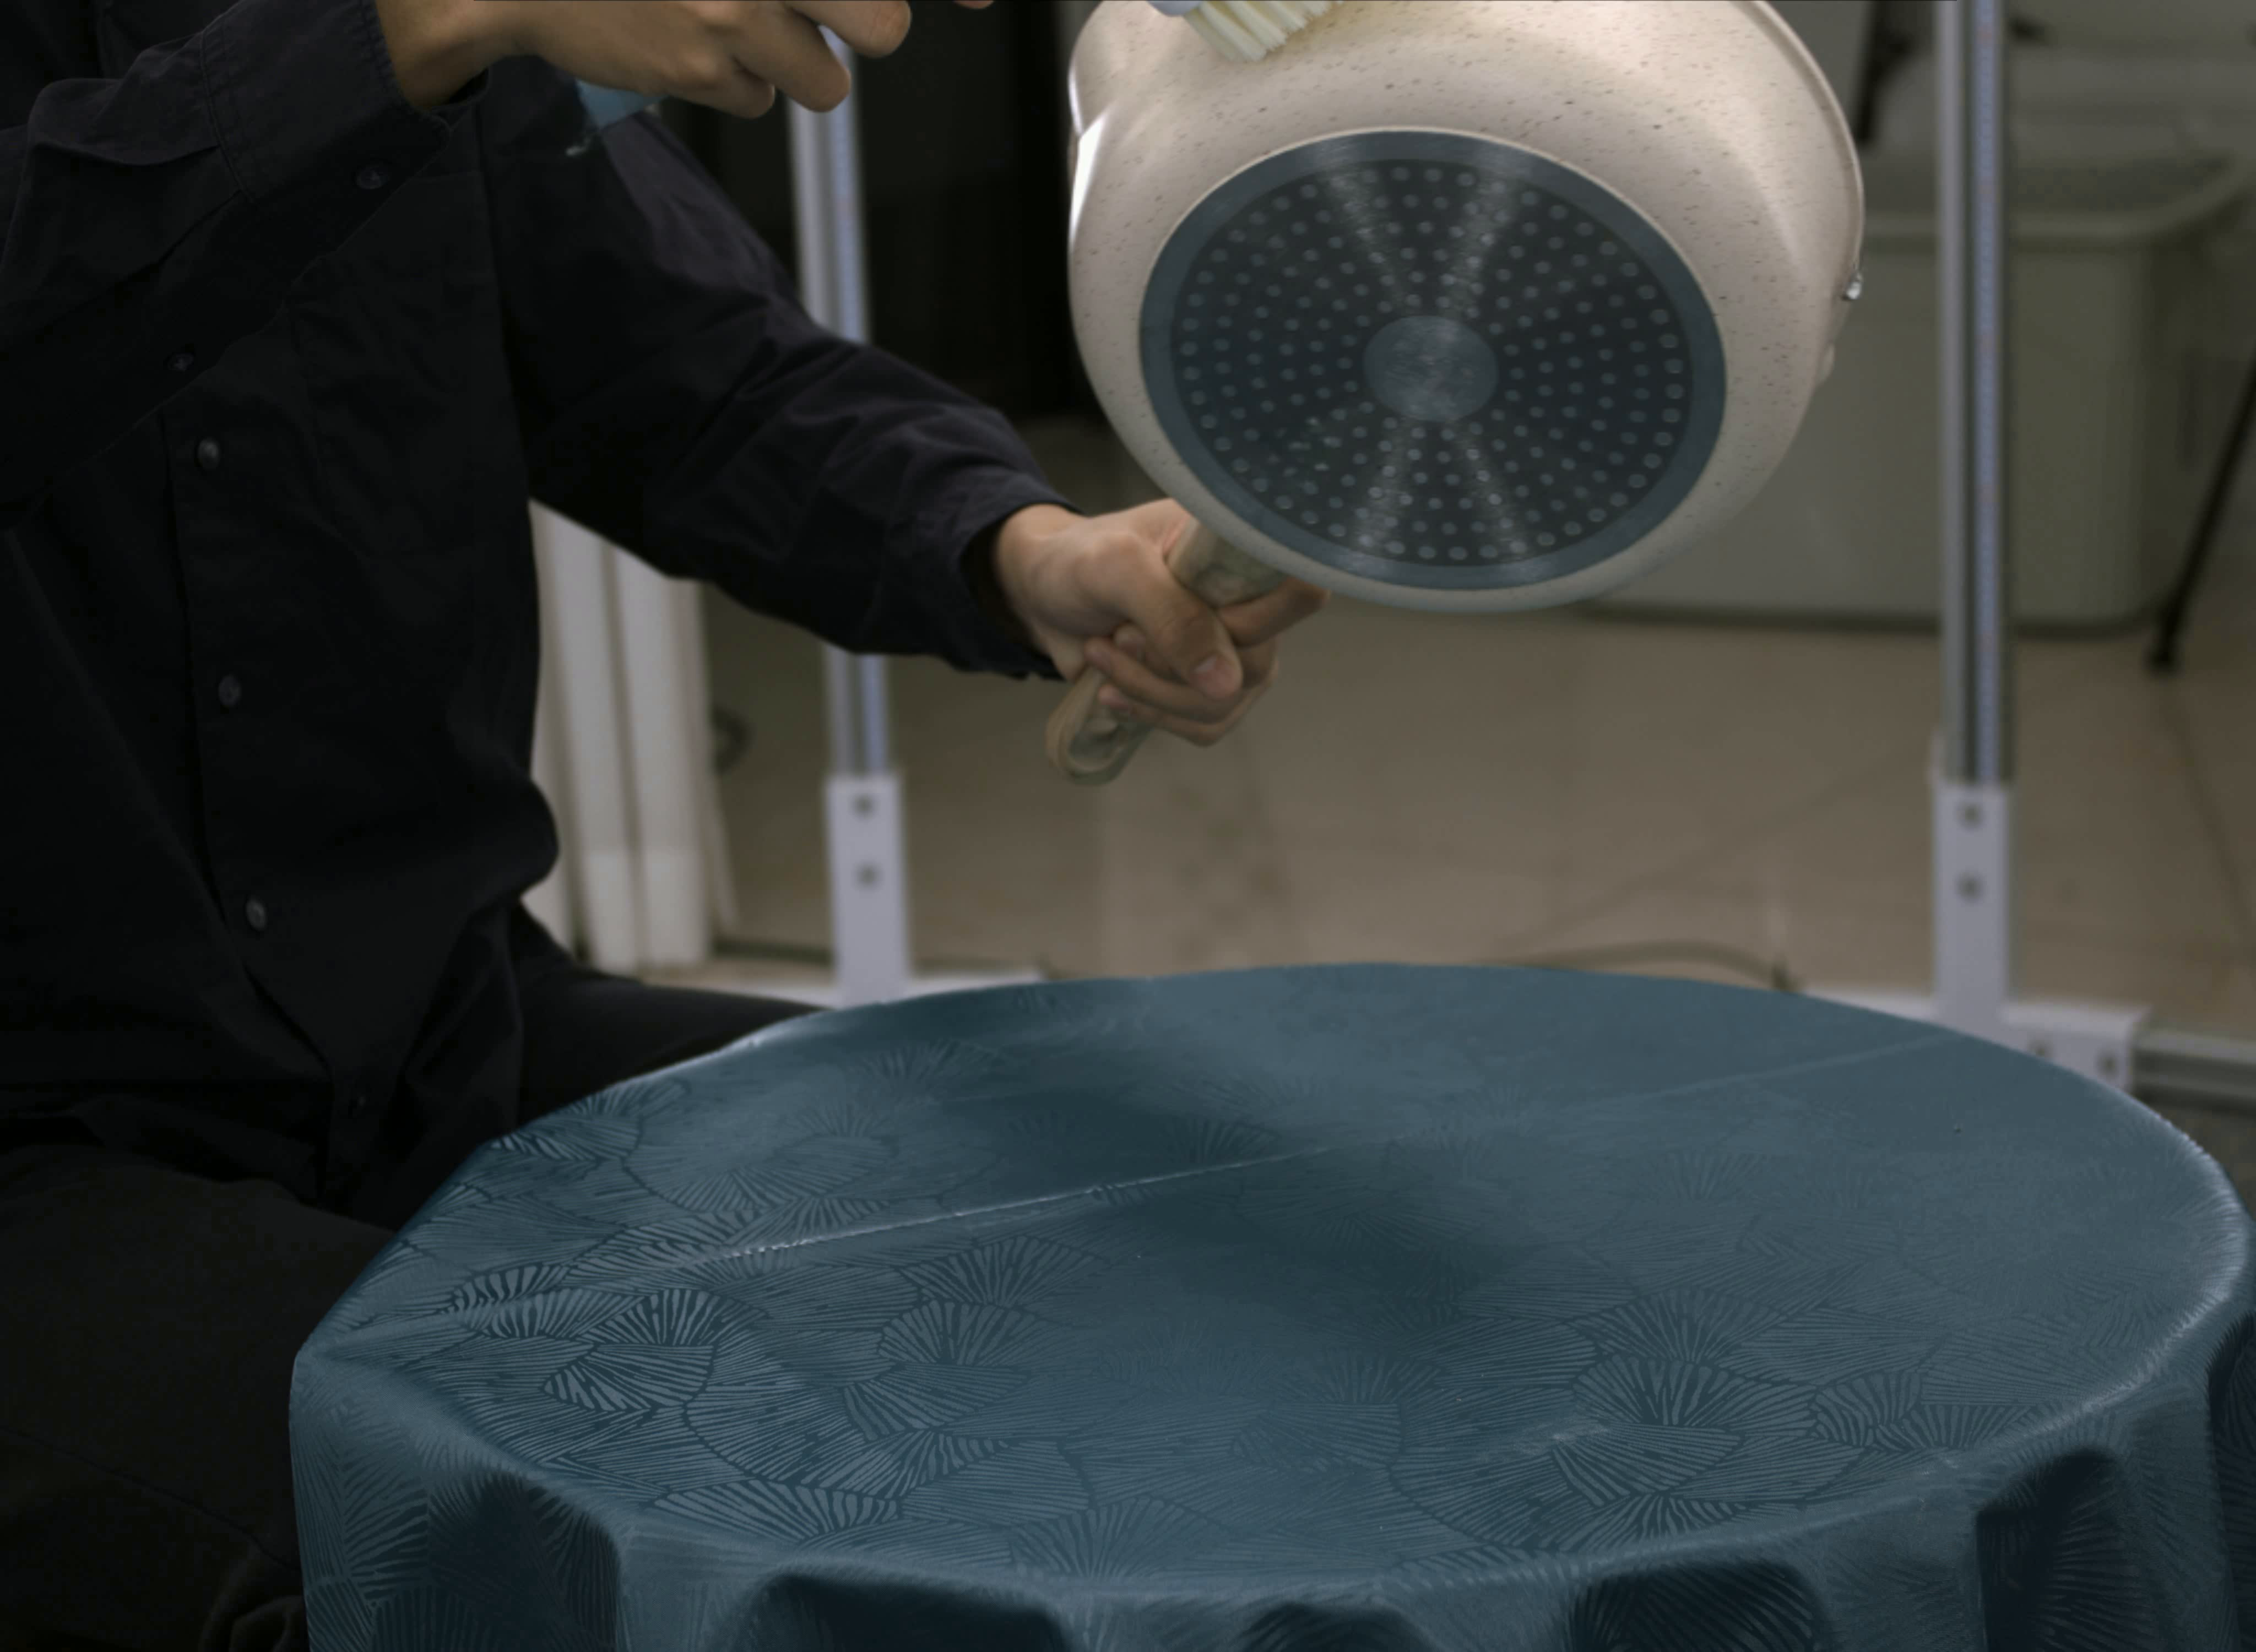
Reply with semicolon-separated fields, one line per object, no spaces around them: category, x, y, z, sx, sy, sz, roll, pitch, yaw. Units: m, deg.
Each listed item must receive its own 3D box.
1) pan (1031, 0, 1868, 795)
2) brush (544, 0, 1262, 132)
pan;0.063;-0.119;1.723;0.259;0.439;0.102;24;45;-11
brush;-0.028;-0.257;1.603;0.326;0.085;0.082;-21;7;27
